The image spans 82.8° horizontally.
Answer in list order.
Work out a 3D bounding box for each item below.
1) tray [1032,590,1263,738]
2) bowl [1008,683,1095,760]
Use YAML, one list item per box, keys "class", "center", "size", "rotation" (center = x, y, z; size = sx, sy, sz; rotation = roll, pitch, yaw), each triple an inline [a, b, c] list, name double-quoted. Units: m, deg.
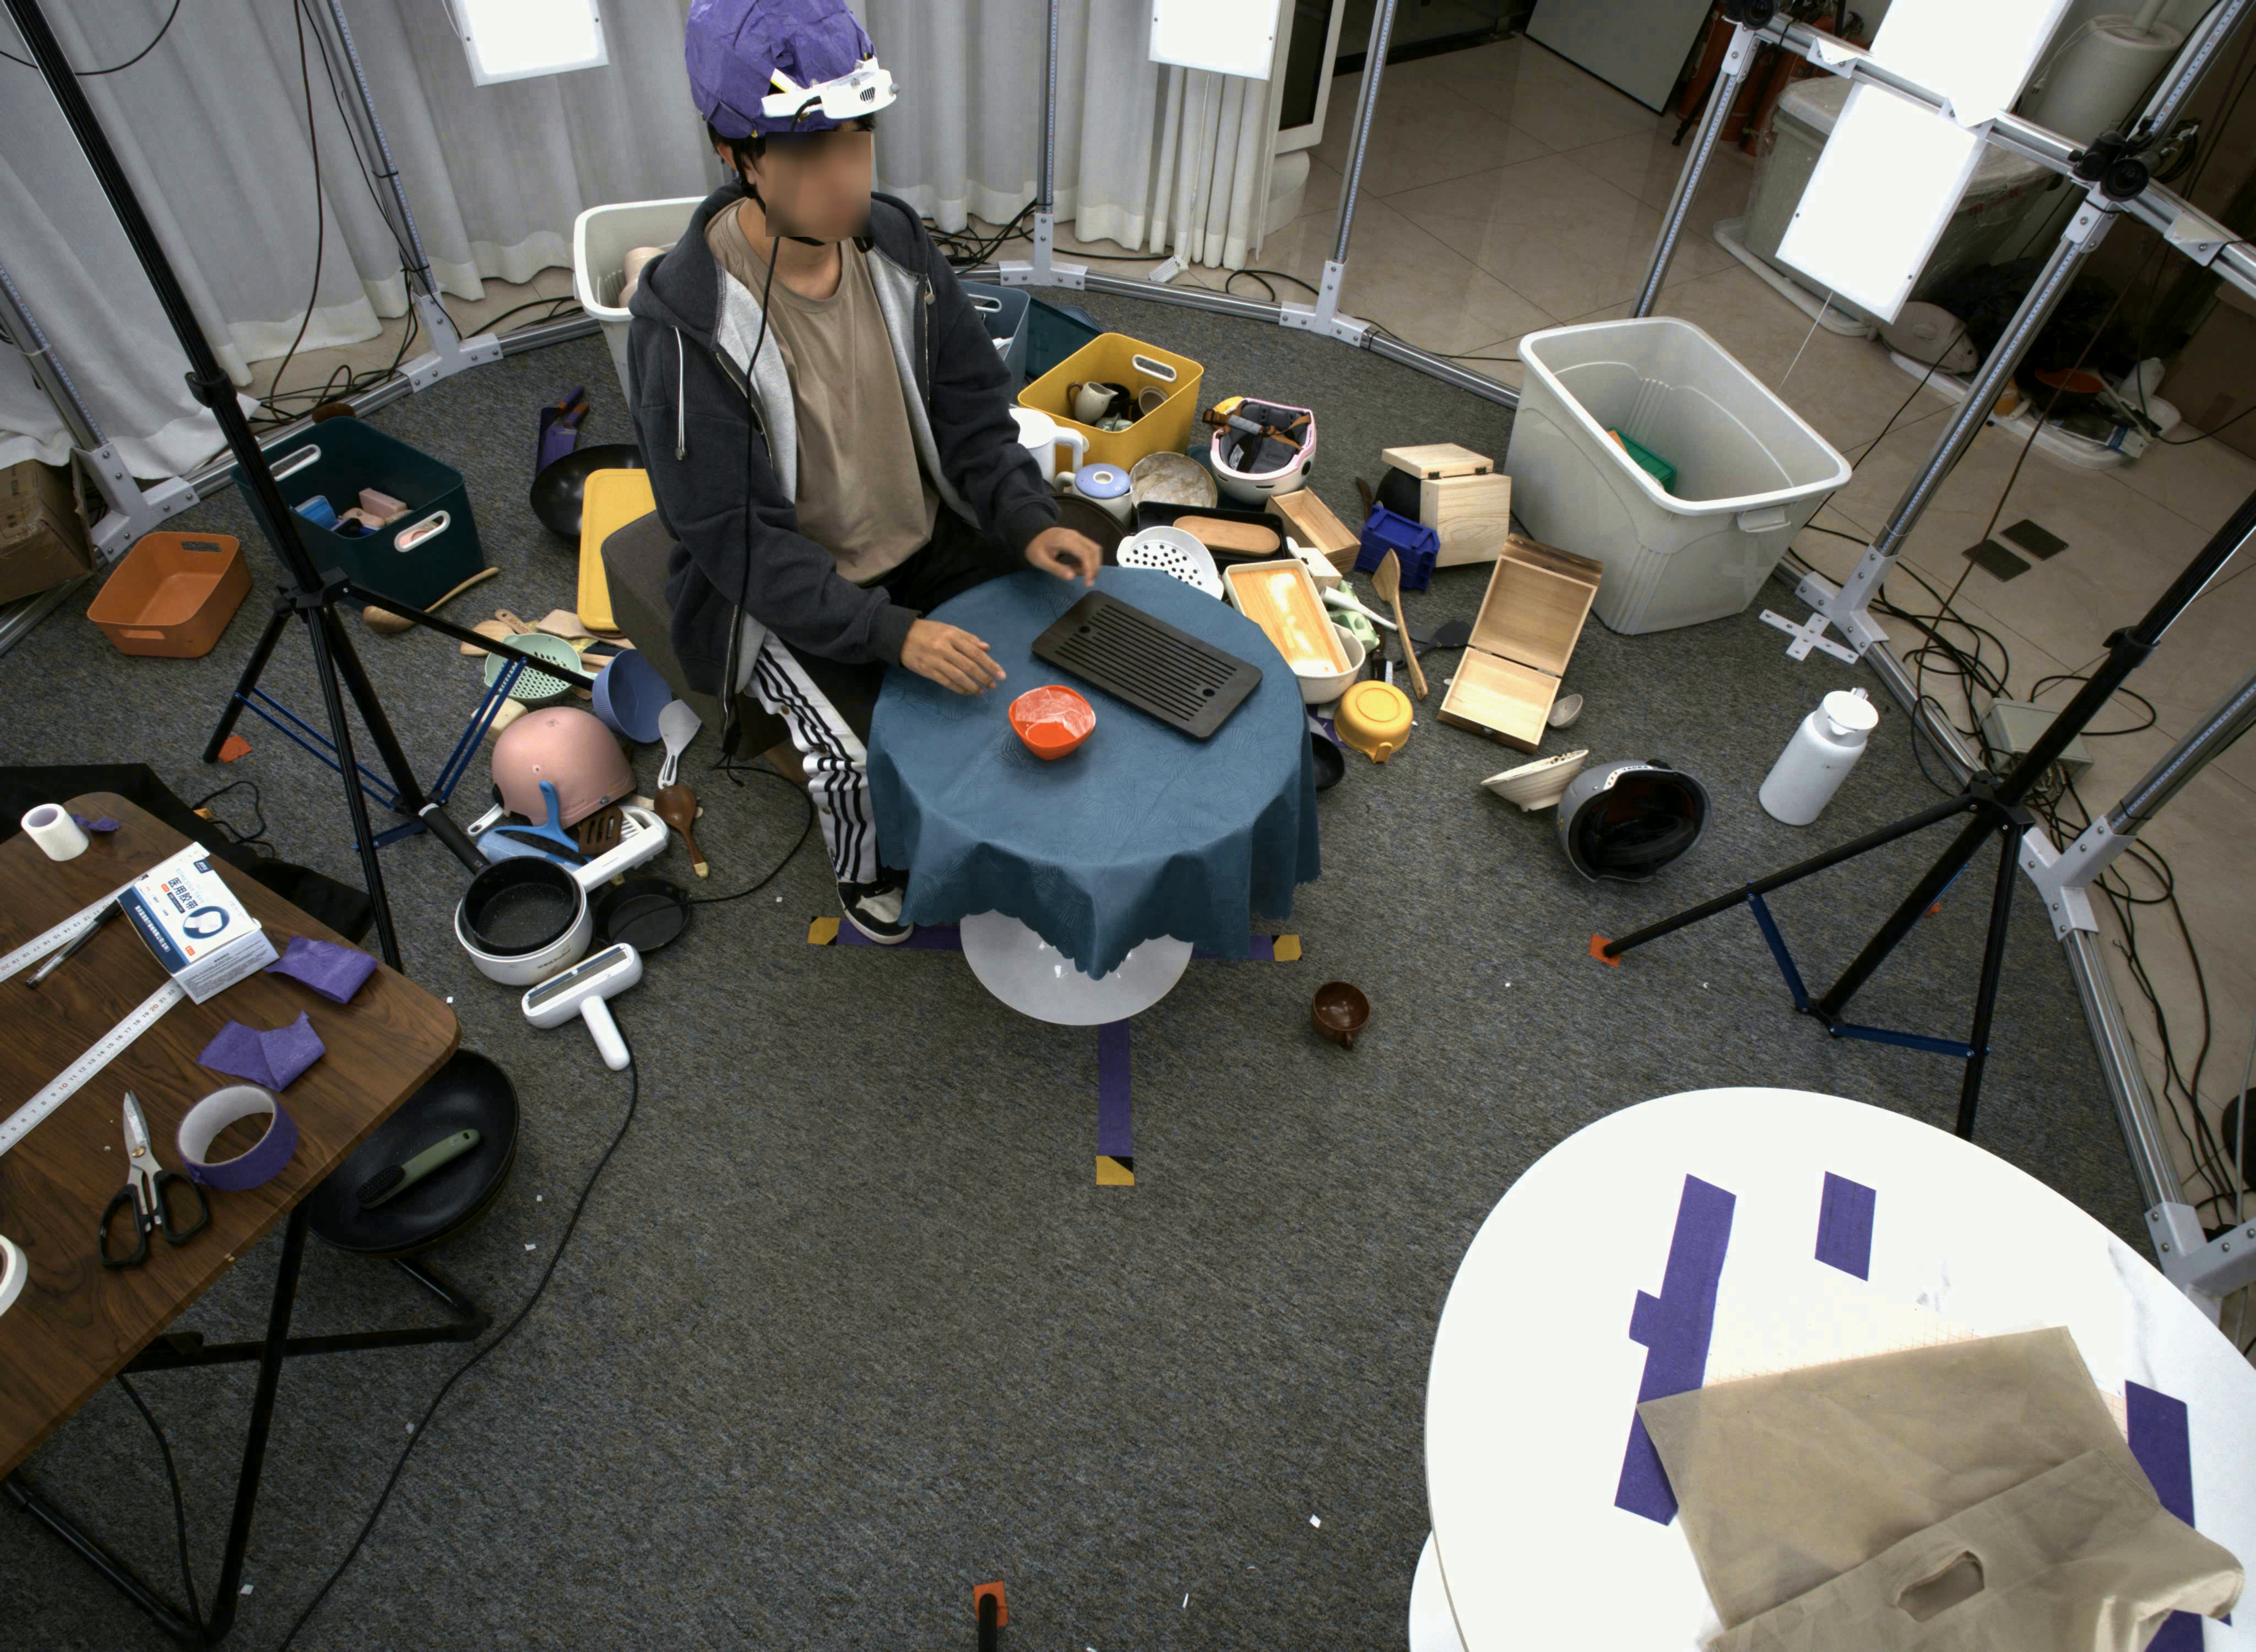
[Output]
- class: "tray"
  center: [0.027, -0.237, 1.863]
  size: [0.309, 0.018, 0.172]
  rotation: [29, 53, 20]
- class: "bowl"
  center: [-0.104, -0.135, 1.741]
  size: [0.119, 0.050, 0.122]
  rotation: [2, 50, -3]
